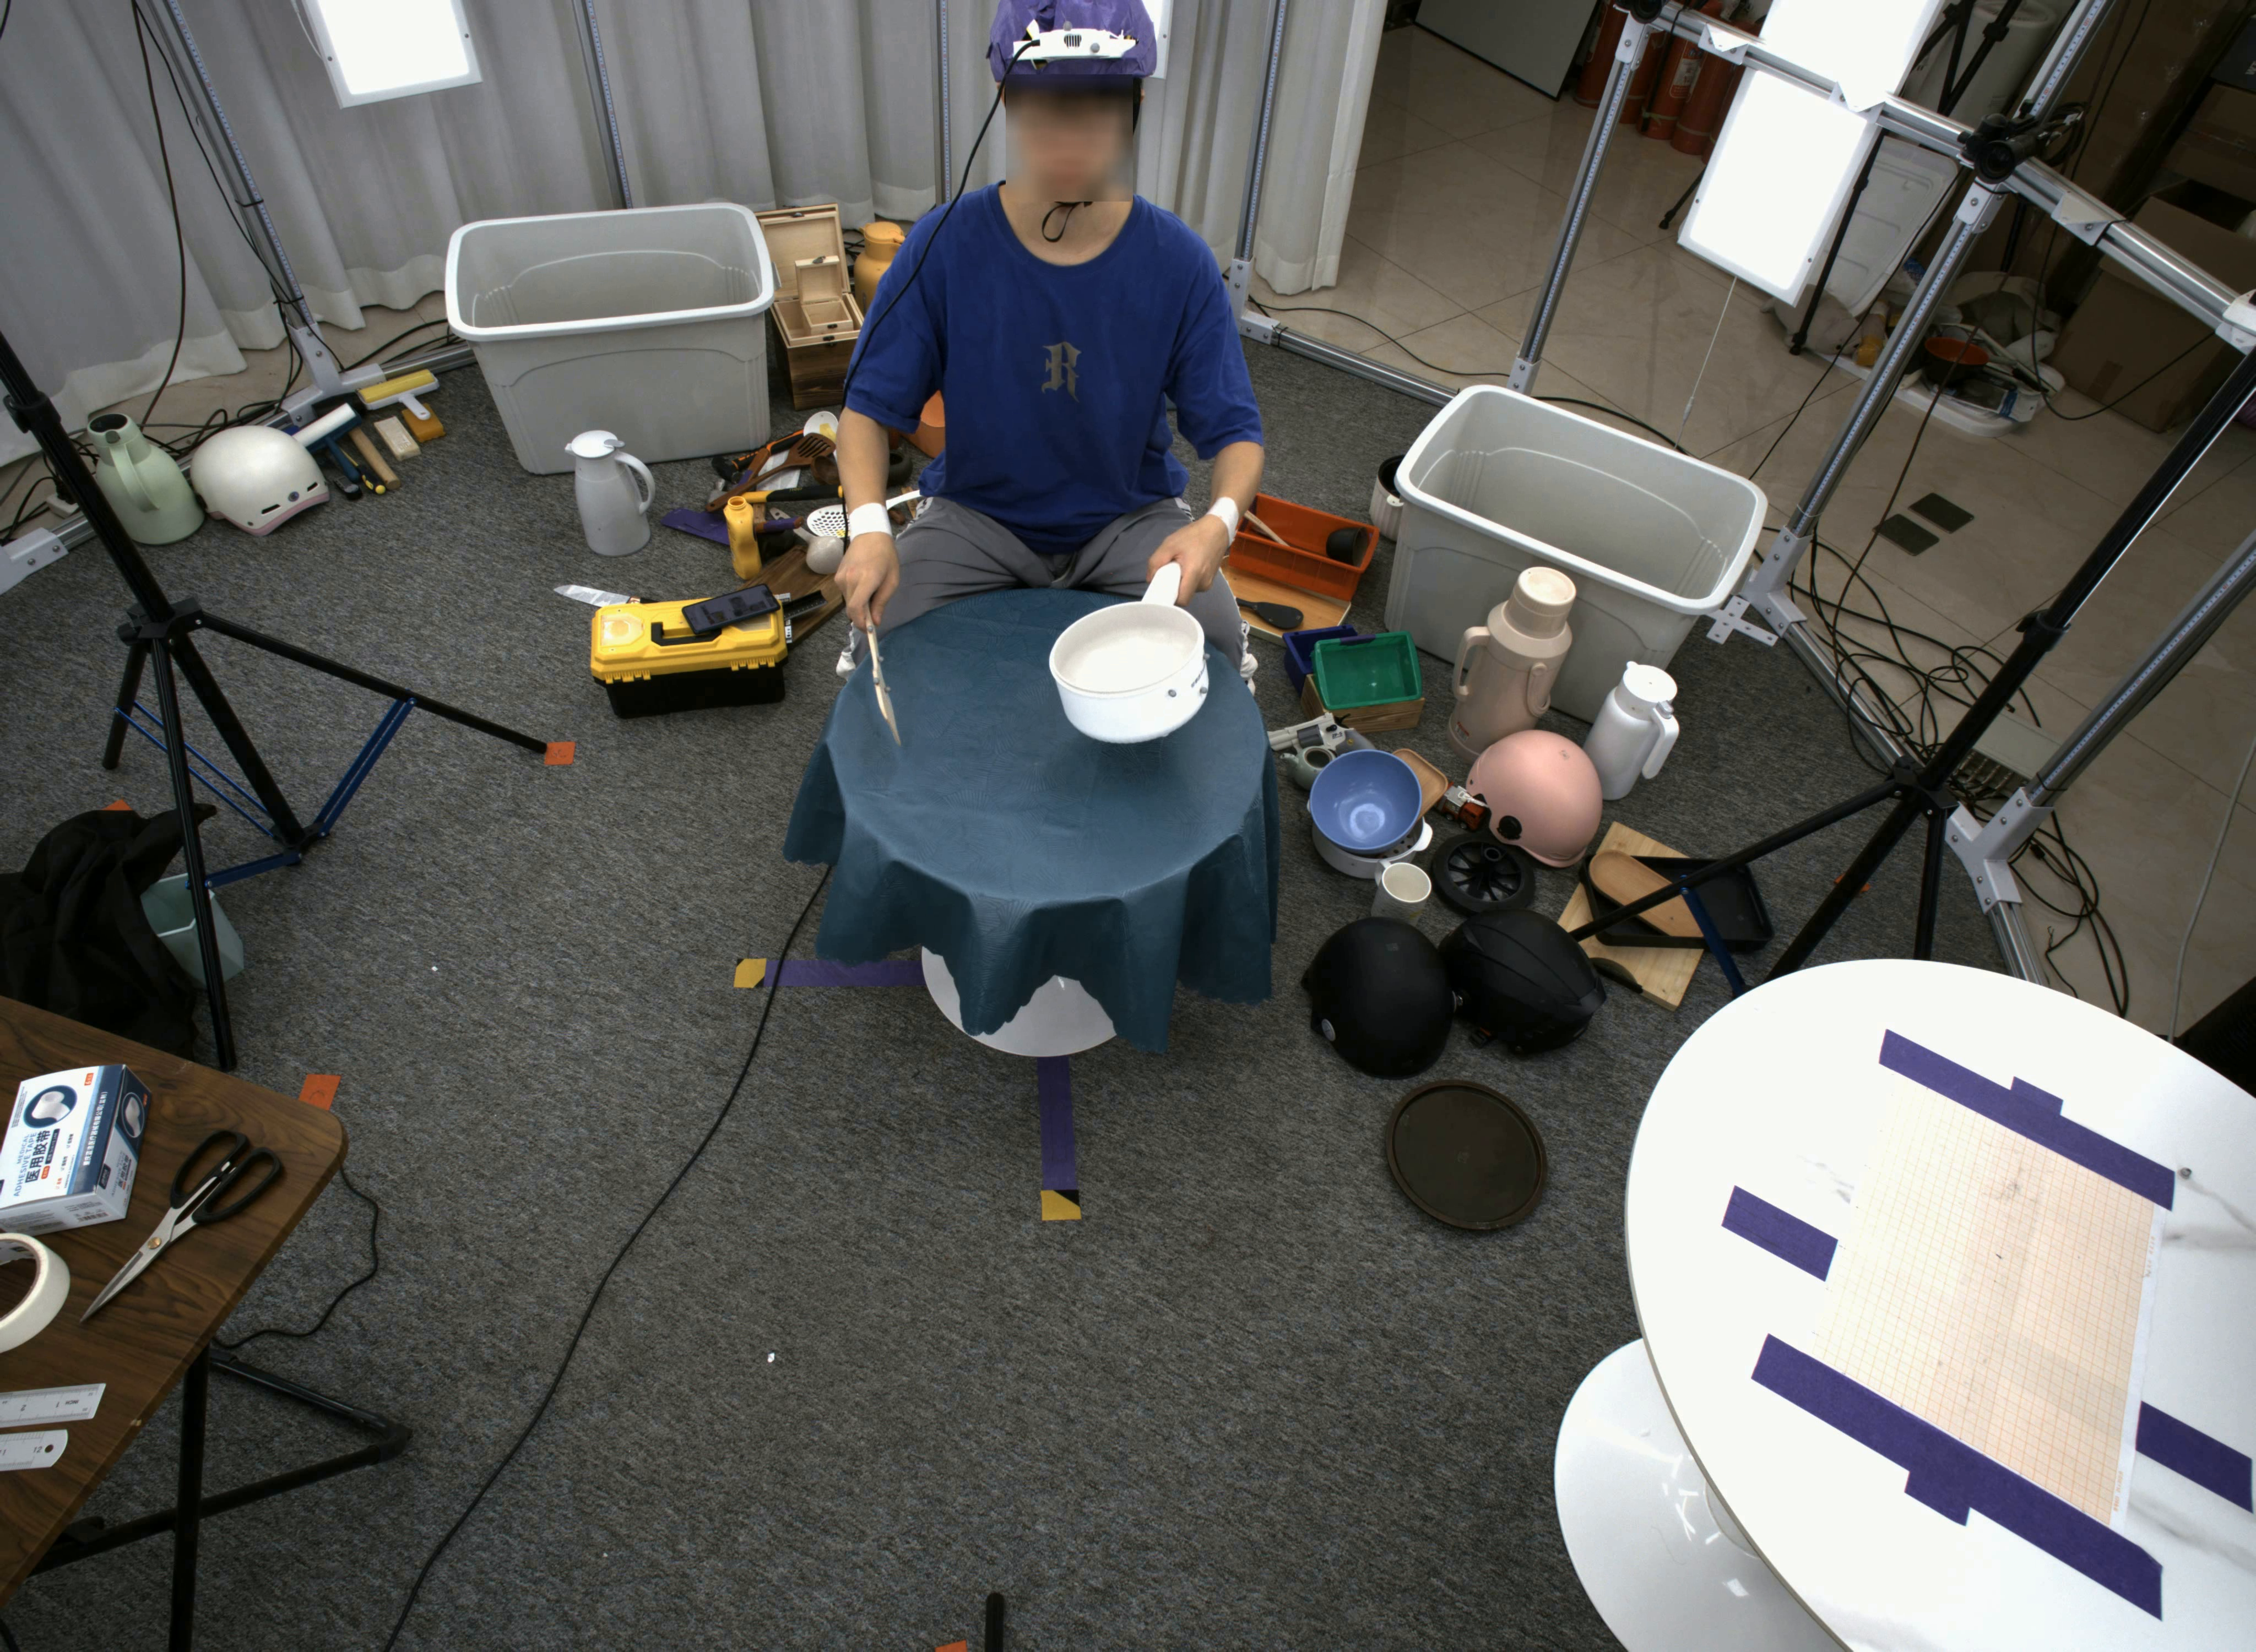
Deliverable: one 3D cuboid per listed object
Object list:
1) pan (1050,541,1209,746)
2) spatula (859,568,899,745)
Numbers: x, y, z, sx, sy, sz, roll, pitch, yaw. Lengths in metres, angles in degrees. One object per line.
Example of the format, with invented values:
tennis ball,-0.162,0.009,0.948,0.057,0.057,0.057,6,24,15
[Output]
pan,0.030,-0.246,1.727,0.202,0.099,0.362,3,44,22
spatula,-0.345,-0.243,1.763,0.010,0.070,0.300,-16,57,1
